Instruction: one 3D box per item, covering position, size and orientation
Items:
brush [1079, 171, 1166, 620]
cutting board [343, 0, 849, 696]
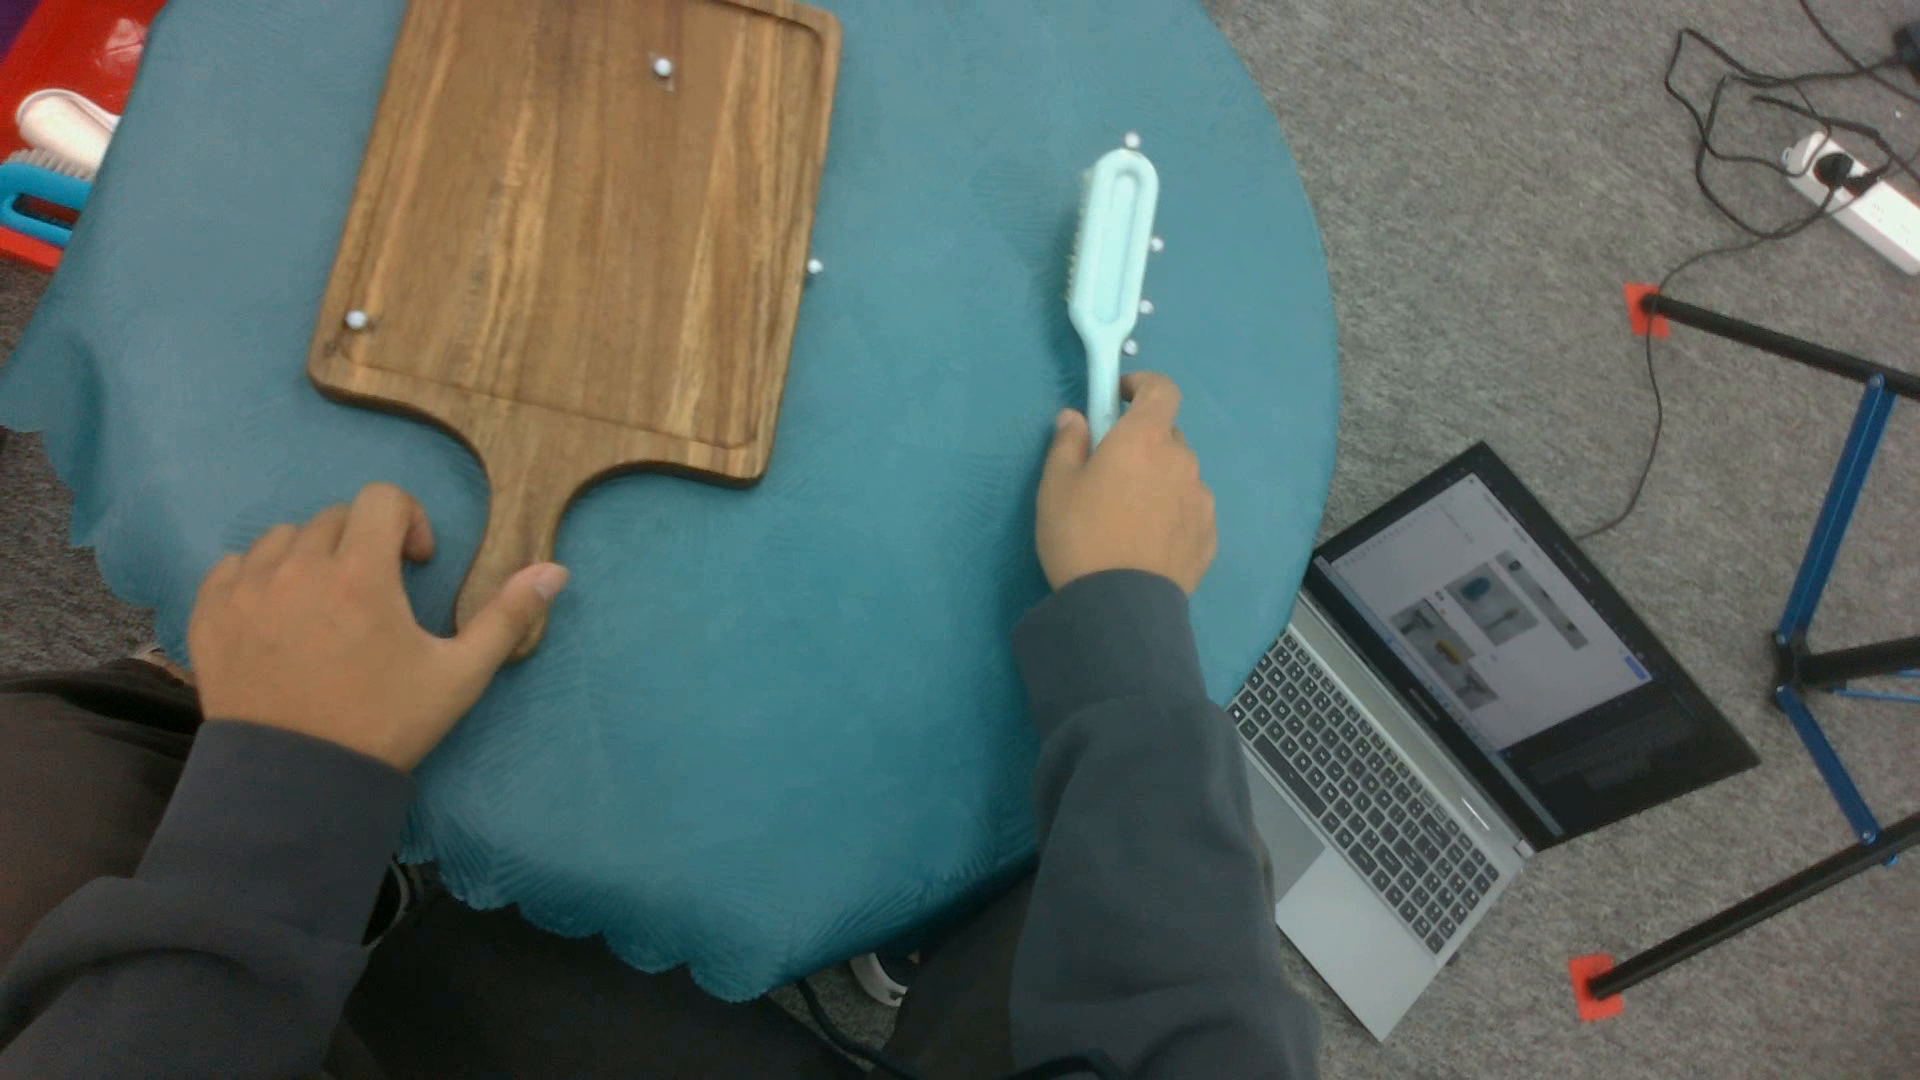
[{"bbox_3d":[0.080,-0.073,0.705,0.038,0.049,0.229,4,82,-17],"label":"brush"},{"bbox_3d":[-0.170,-0.102,0.648,0.201,0.023,0.353,11,73,-13],"label":"cutting board"}]
